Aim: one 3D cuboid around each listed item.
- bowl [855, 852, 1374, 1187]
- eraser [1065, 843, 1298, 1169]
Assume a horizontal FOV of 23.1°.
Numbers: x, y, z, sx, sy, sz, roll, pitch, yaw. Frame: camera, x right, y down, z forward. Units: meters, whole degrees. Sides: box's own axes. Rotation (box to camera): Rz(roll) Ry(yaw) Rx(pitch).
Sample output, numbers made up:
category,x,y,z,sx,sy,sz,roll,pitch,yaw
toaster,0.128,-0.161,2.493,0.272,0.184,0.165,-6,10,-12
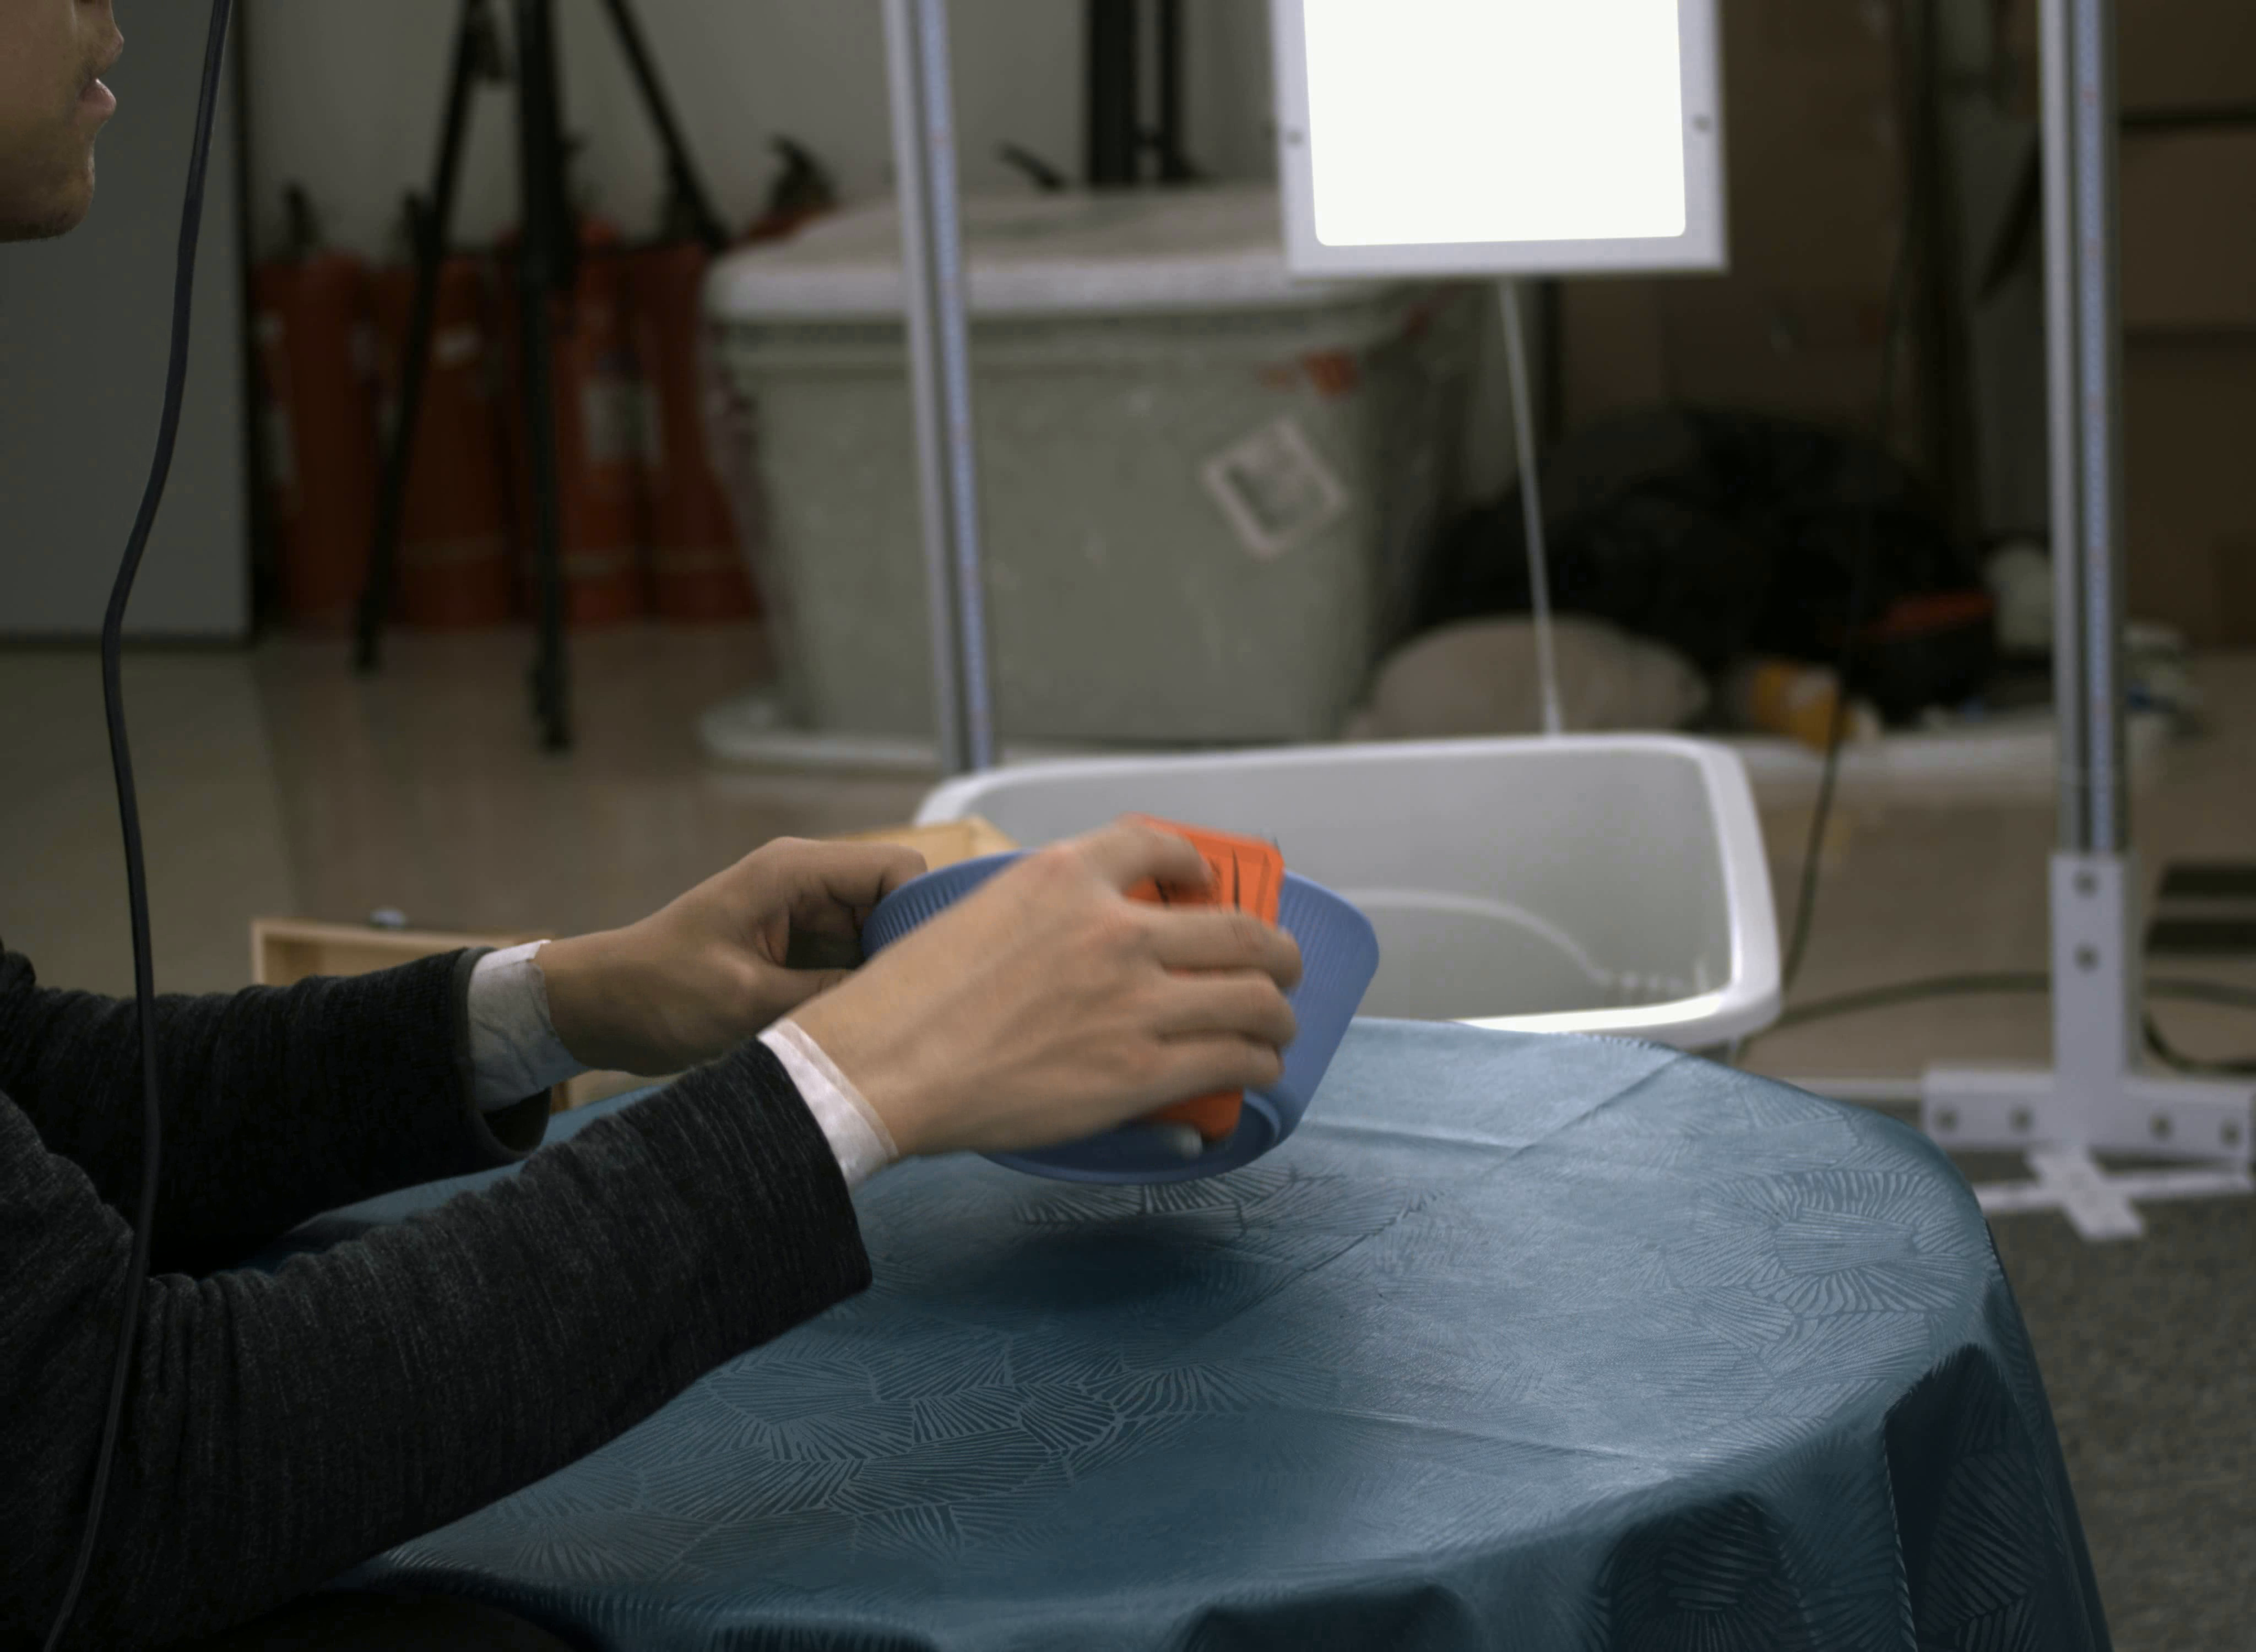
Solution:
category,x,y,z,sx,sy,sz,roll,pitch,yaw
bowl,-0.005,0.071,1.845,0.175,0.070,0.177,2,-22,-1
eraser,0.017,0.055,1.703,0.059,0.023,0.107,11,49,2
